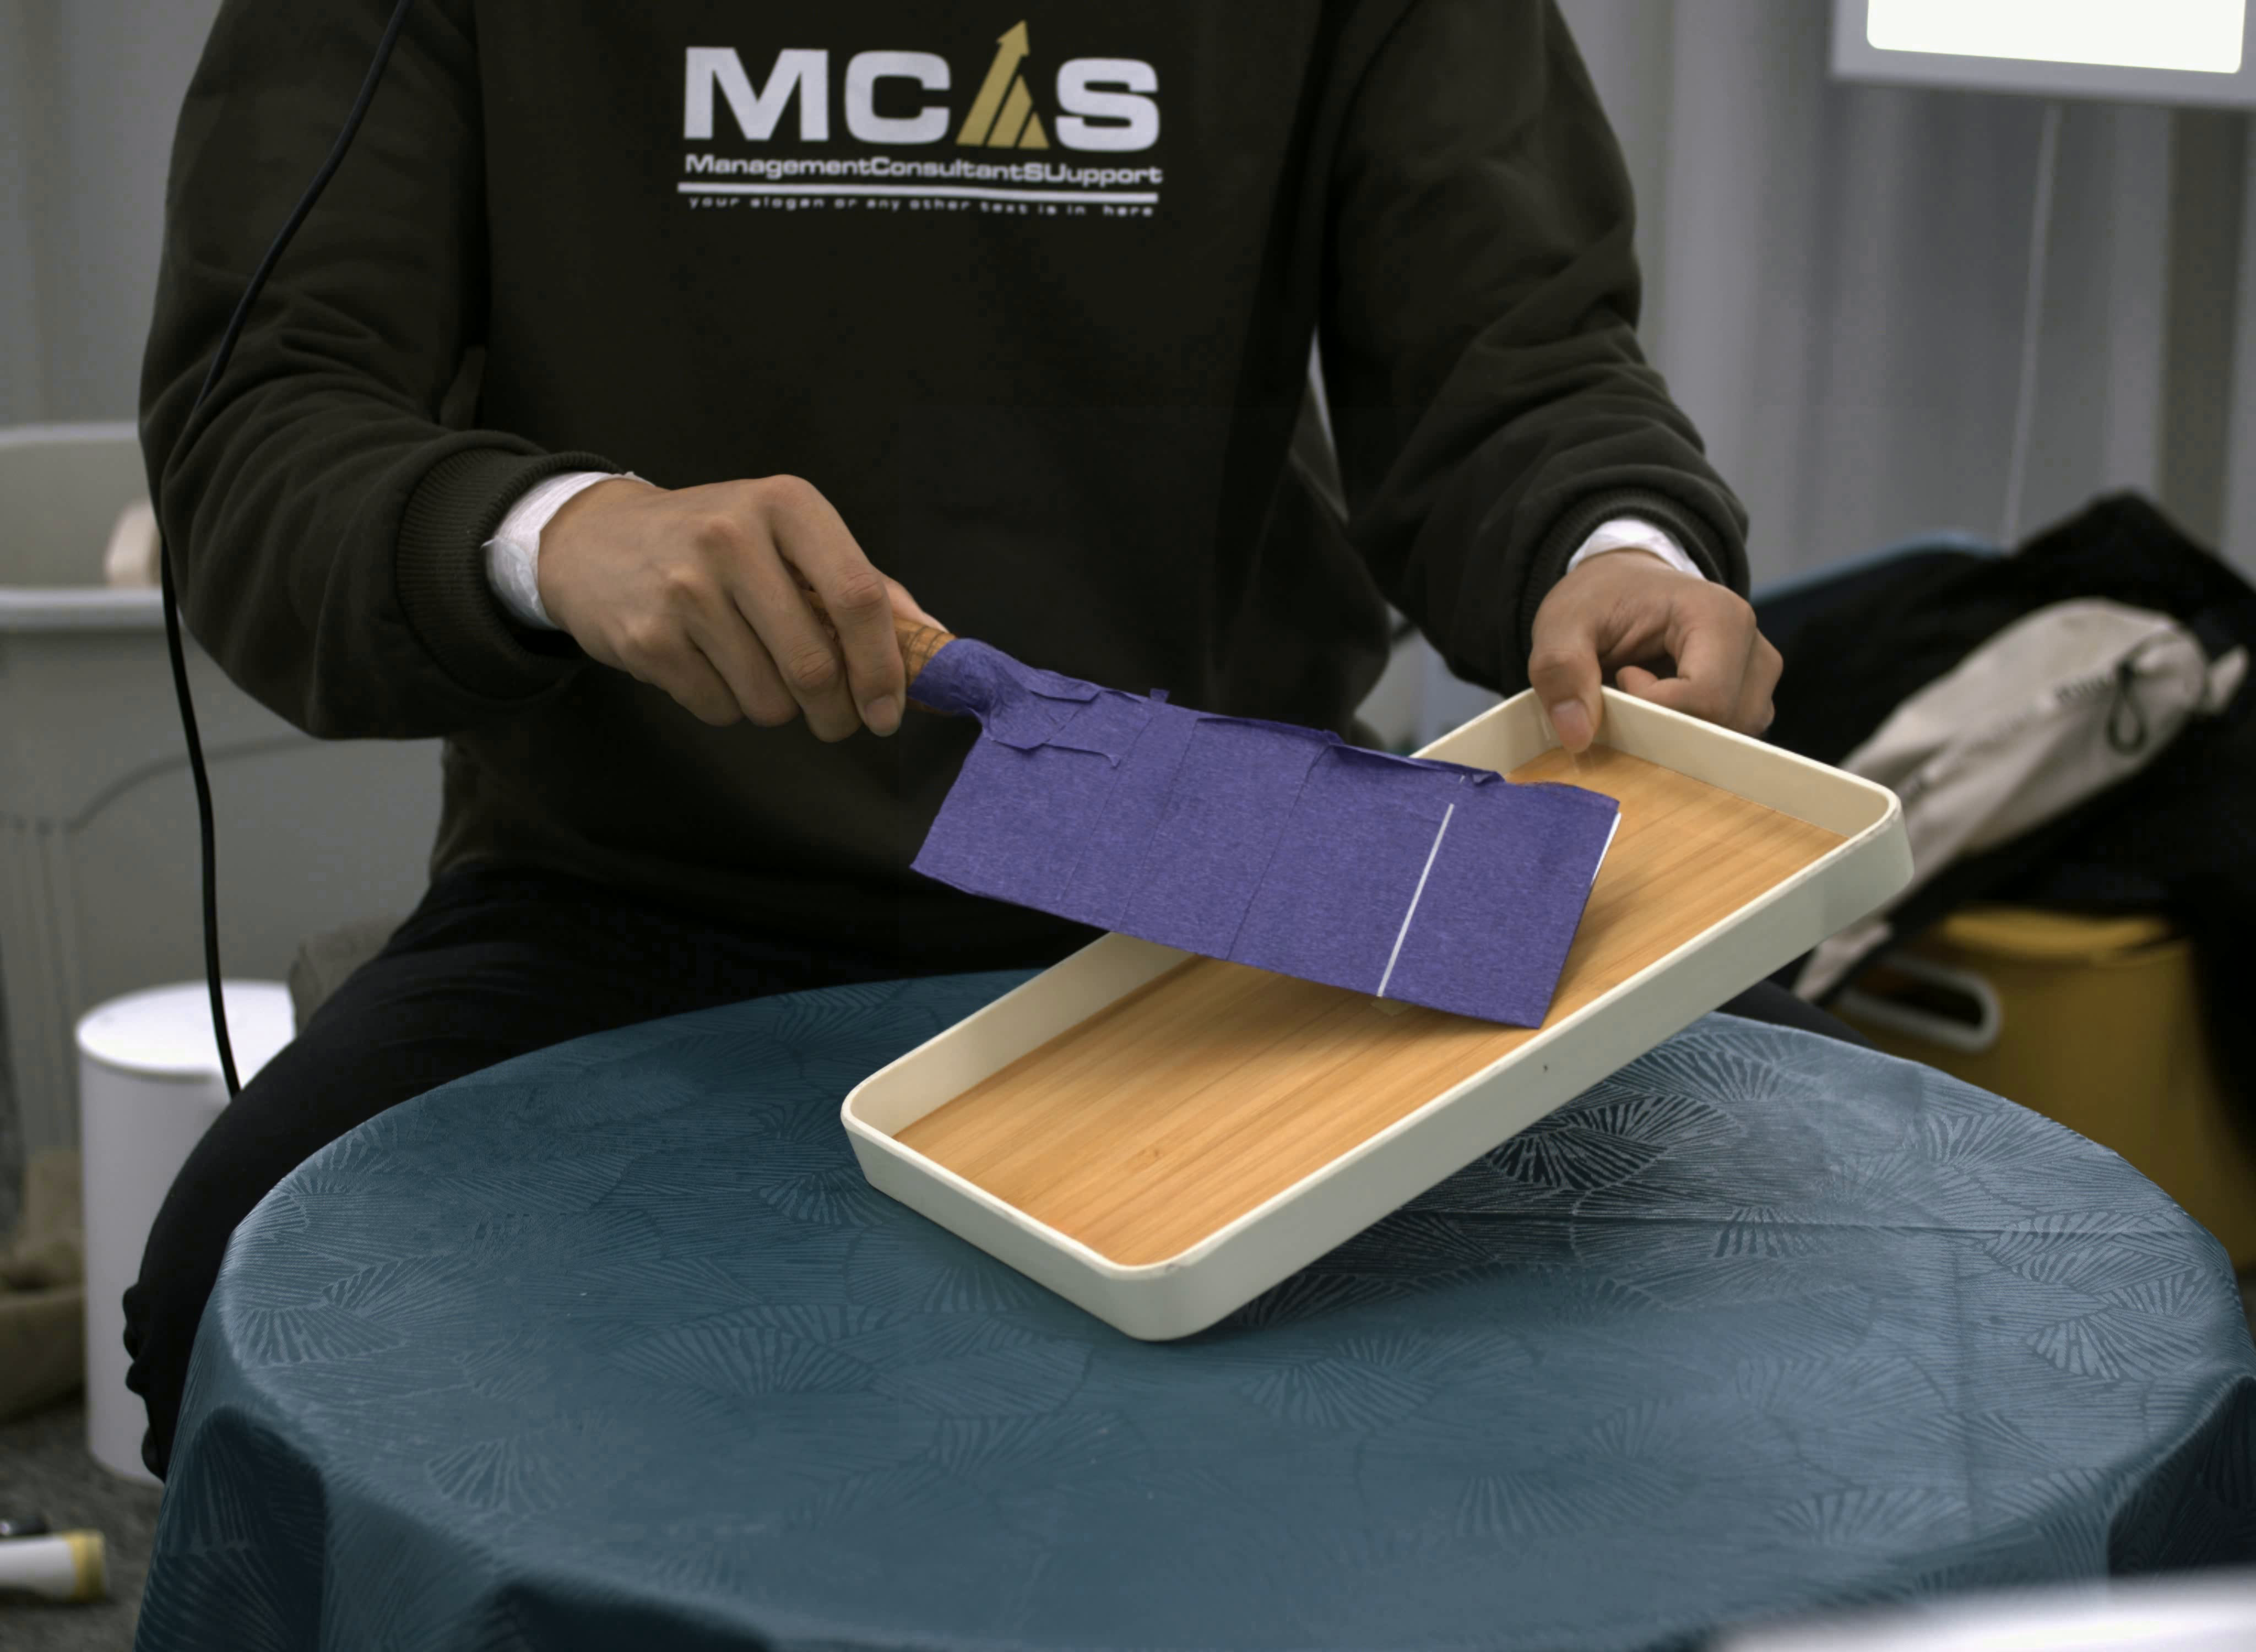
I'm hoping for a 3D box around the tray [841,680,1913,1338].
[{"bbox_3d":[0.076,0.050,1.617,0.300,0.028,0.189,-30,27,-22],"label":"tray"}]

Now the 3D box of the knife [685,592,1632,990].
[{"bbox_3d":[-0.005,-0.012,1.646,0.312,0.032,0.103,11,53,18],"label":"knife"}]
